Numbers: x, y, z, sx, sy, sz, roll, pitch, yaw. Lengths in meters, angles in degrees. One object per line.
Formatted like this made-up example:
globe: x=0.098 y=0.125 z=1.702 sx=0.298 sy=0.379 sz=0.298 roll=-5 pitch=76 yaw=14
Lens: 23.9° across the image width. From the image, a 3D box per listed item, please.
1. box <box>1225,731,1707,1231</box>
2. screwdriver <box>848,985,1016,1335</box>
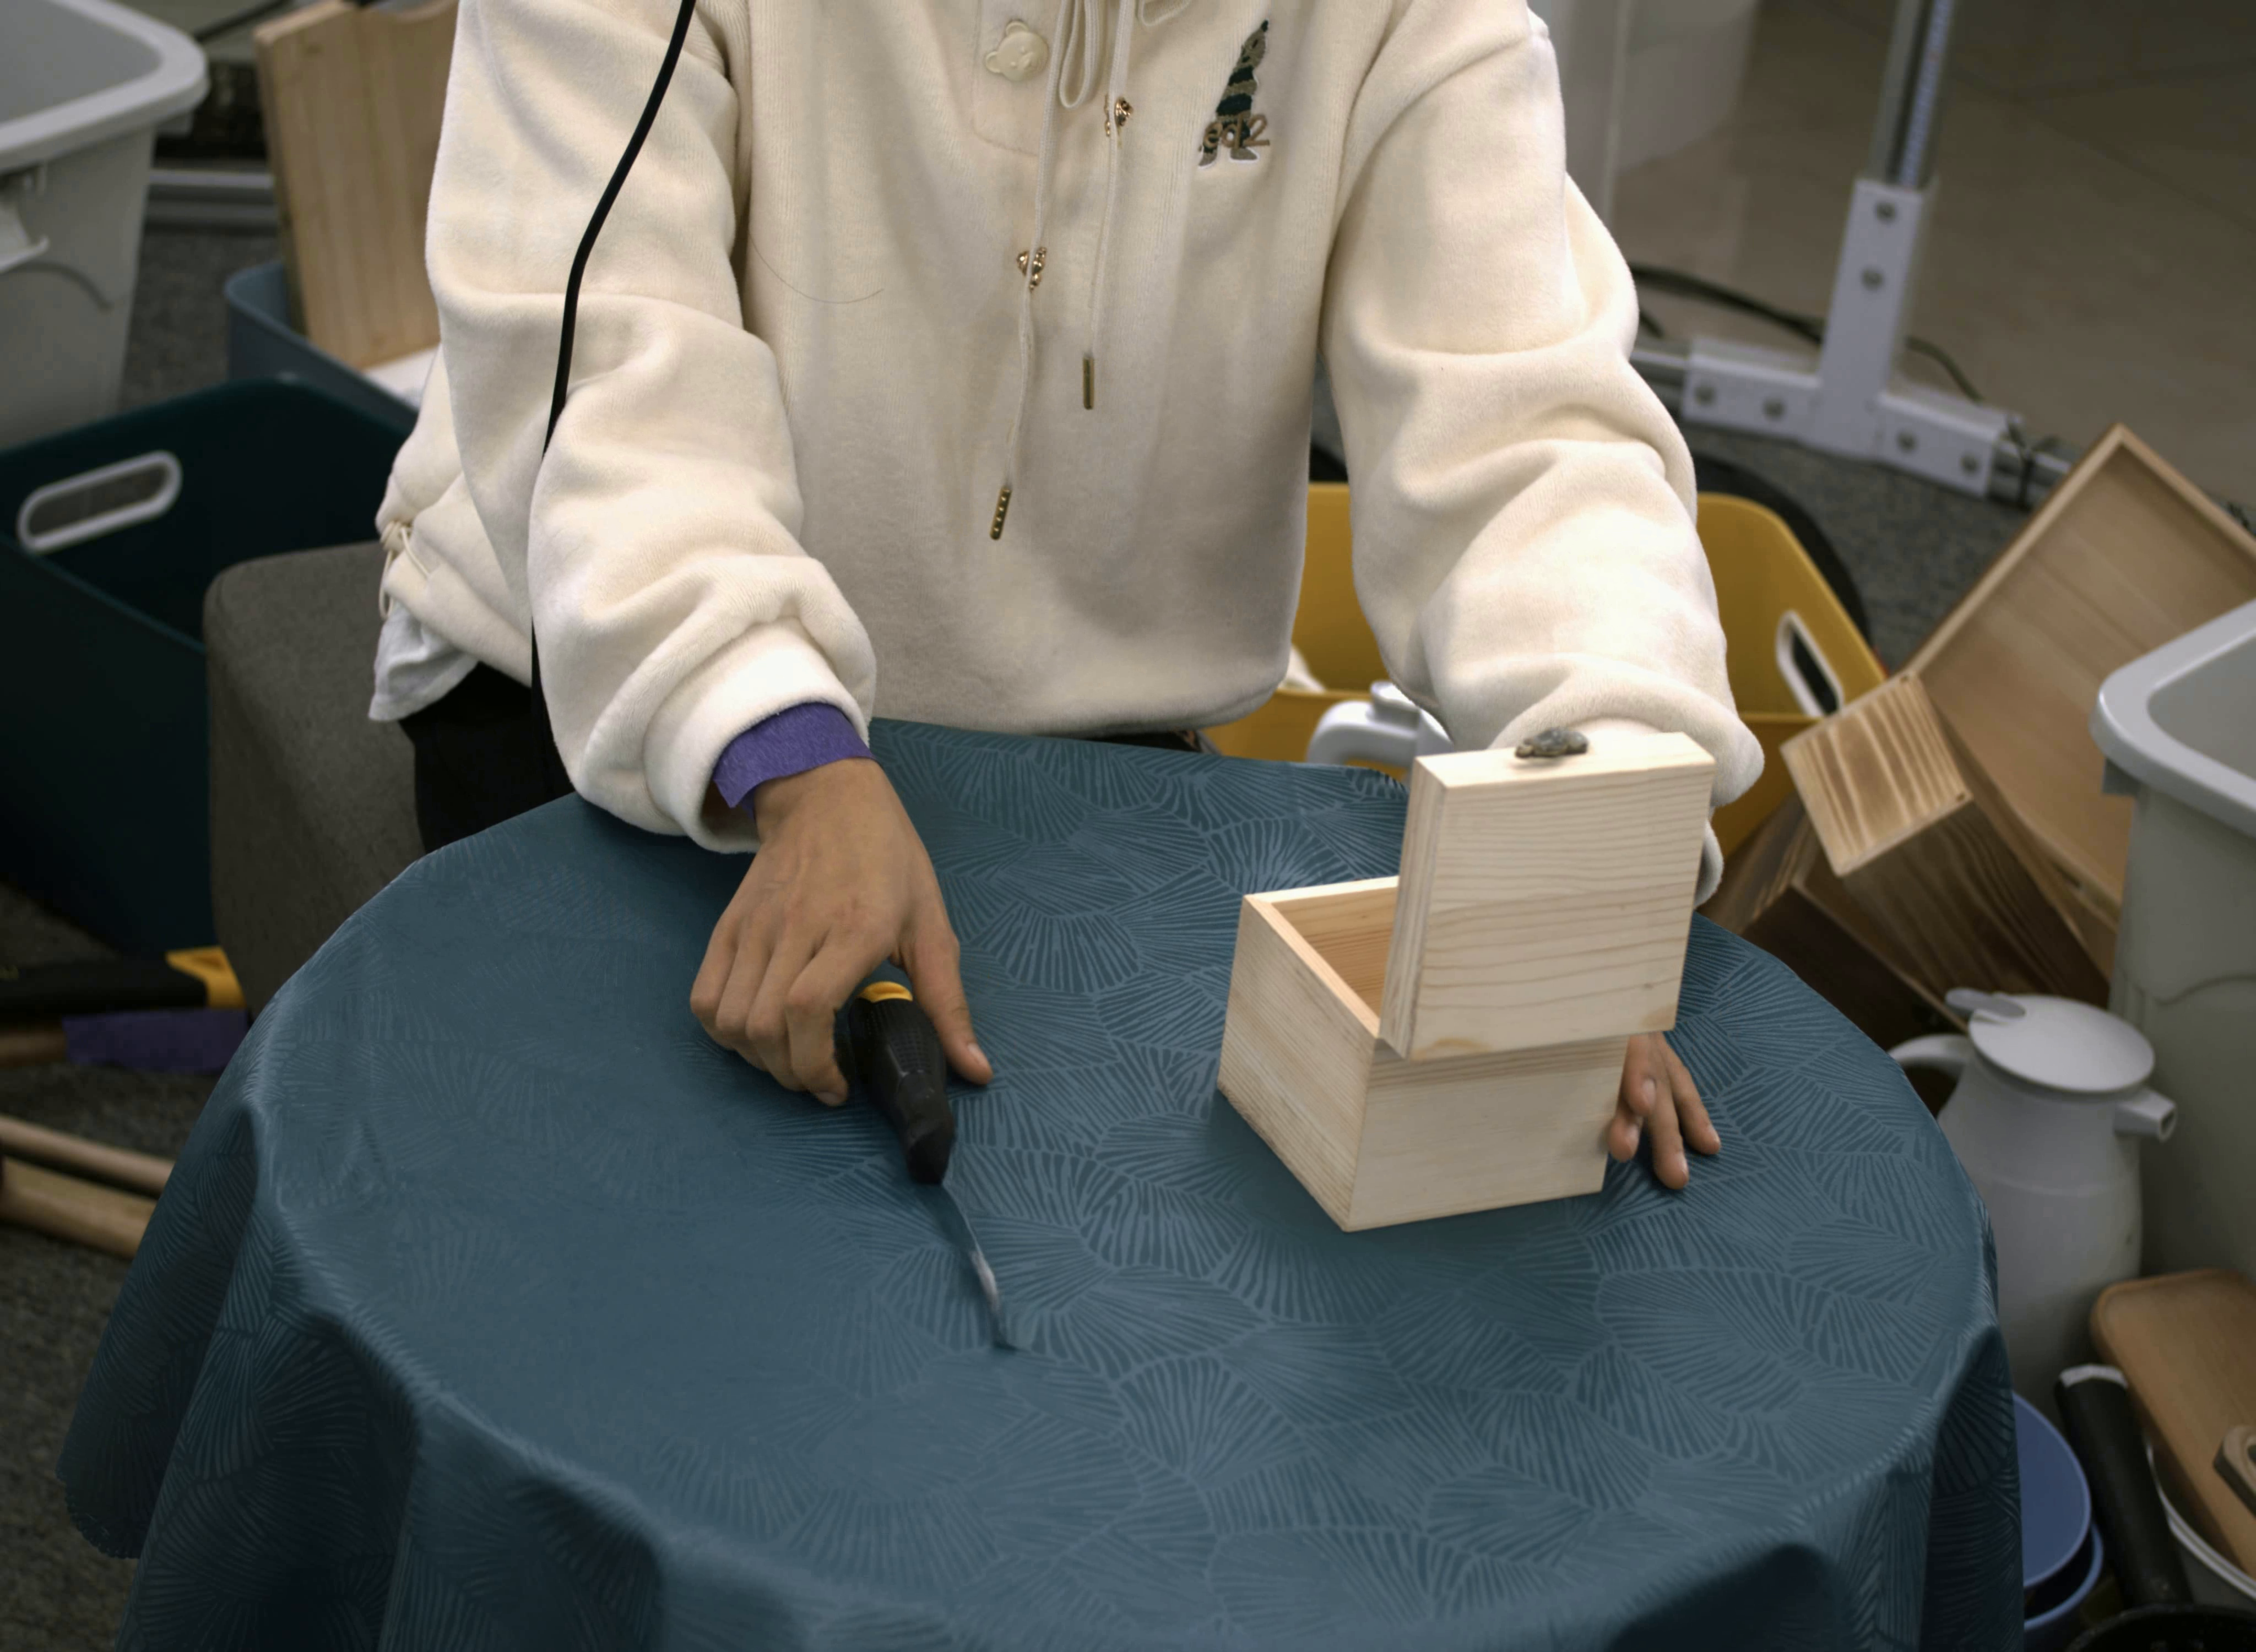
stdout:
box: x=0.111 y=0.033 z=1.803 sx=0.102 sy=0.184 sz=0.135 roll=-7 pitch=31 yaw=-23
screwdriver: x=-0.067 y=0.112 z=1.785 sx=0.031 sy=0.031 sz=0.199 roll=0 pitch=30 yaw=-14
